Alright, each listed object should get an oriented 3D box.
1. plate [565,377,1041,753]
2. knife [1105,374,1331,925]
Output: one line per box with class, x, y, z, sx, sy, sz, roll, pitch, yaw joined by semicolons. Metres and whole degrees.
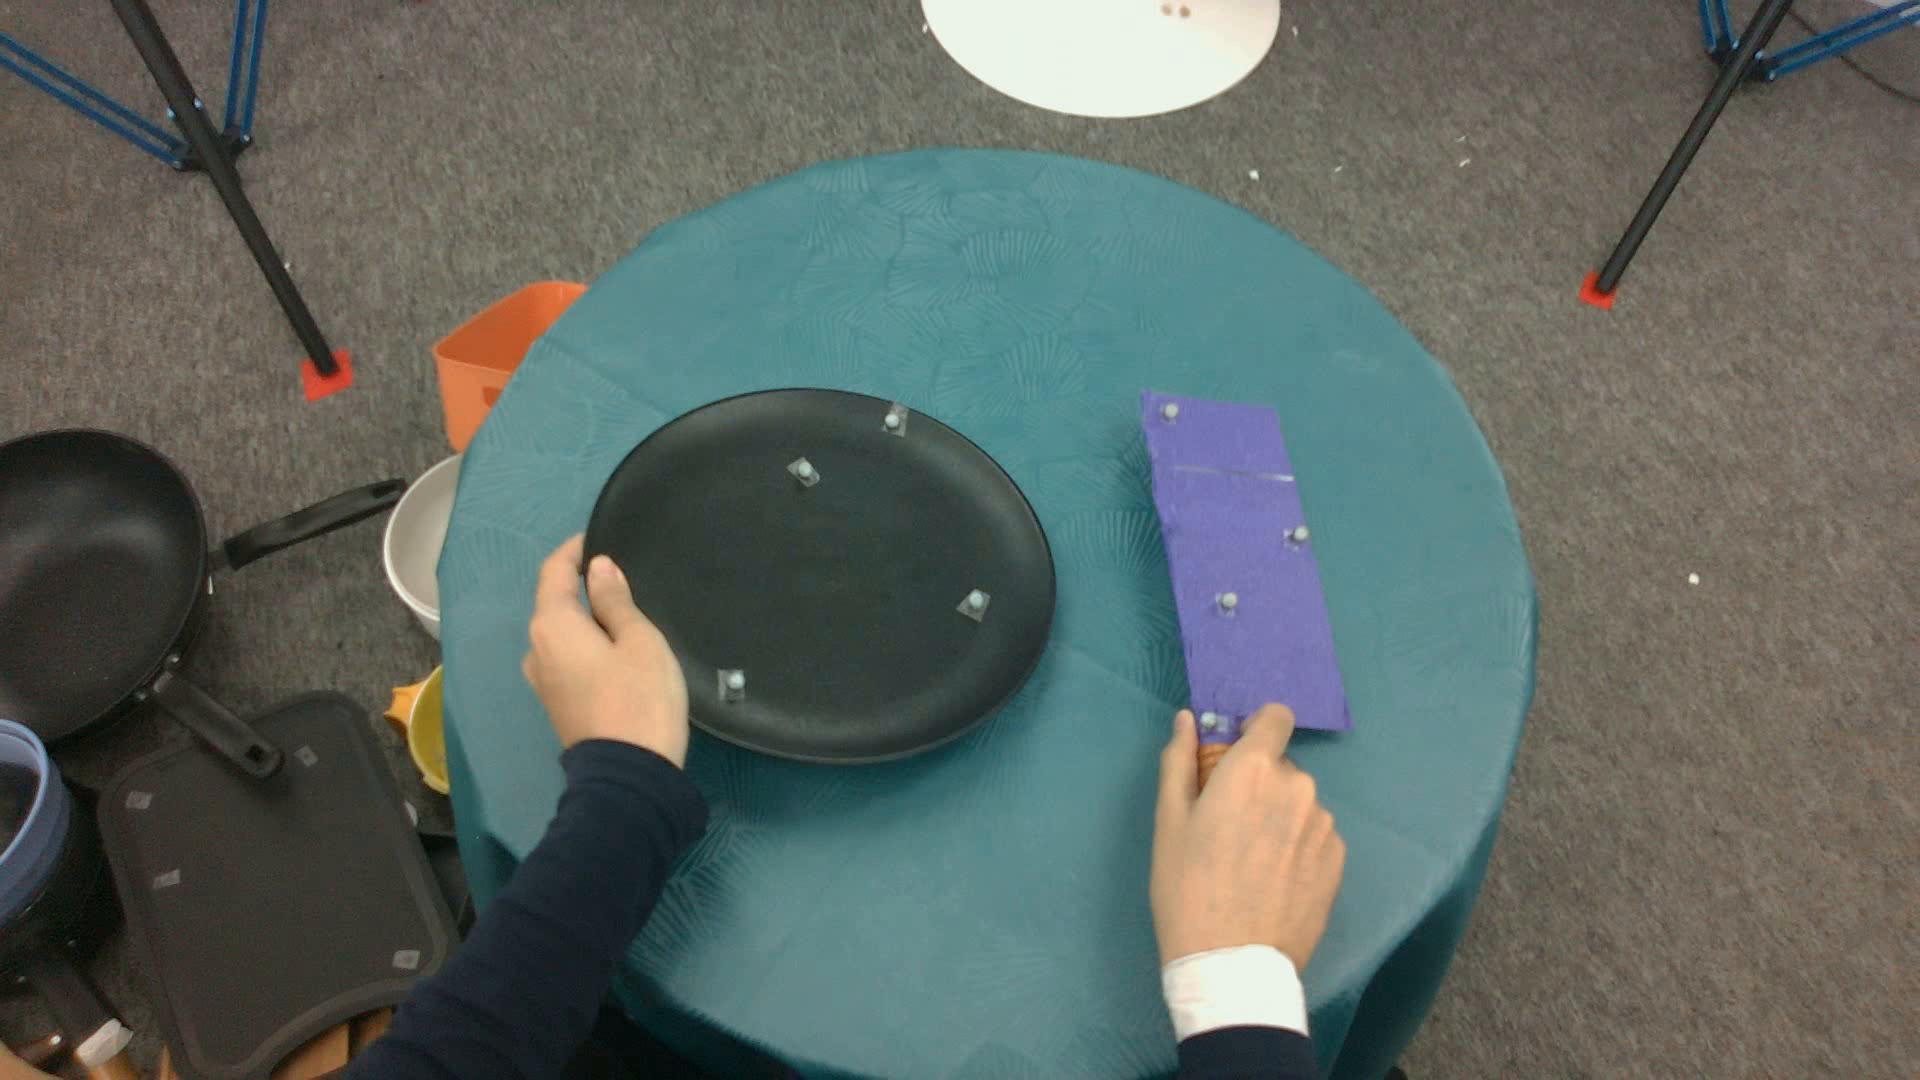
plate;-0.078;0.009;0.716;0.244;0.023;0.245;8;50;-9
knife;0.145;0.040;0.717;0.104;0.032;0.316;6;57;-17
